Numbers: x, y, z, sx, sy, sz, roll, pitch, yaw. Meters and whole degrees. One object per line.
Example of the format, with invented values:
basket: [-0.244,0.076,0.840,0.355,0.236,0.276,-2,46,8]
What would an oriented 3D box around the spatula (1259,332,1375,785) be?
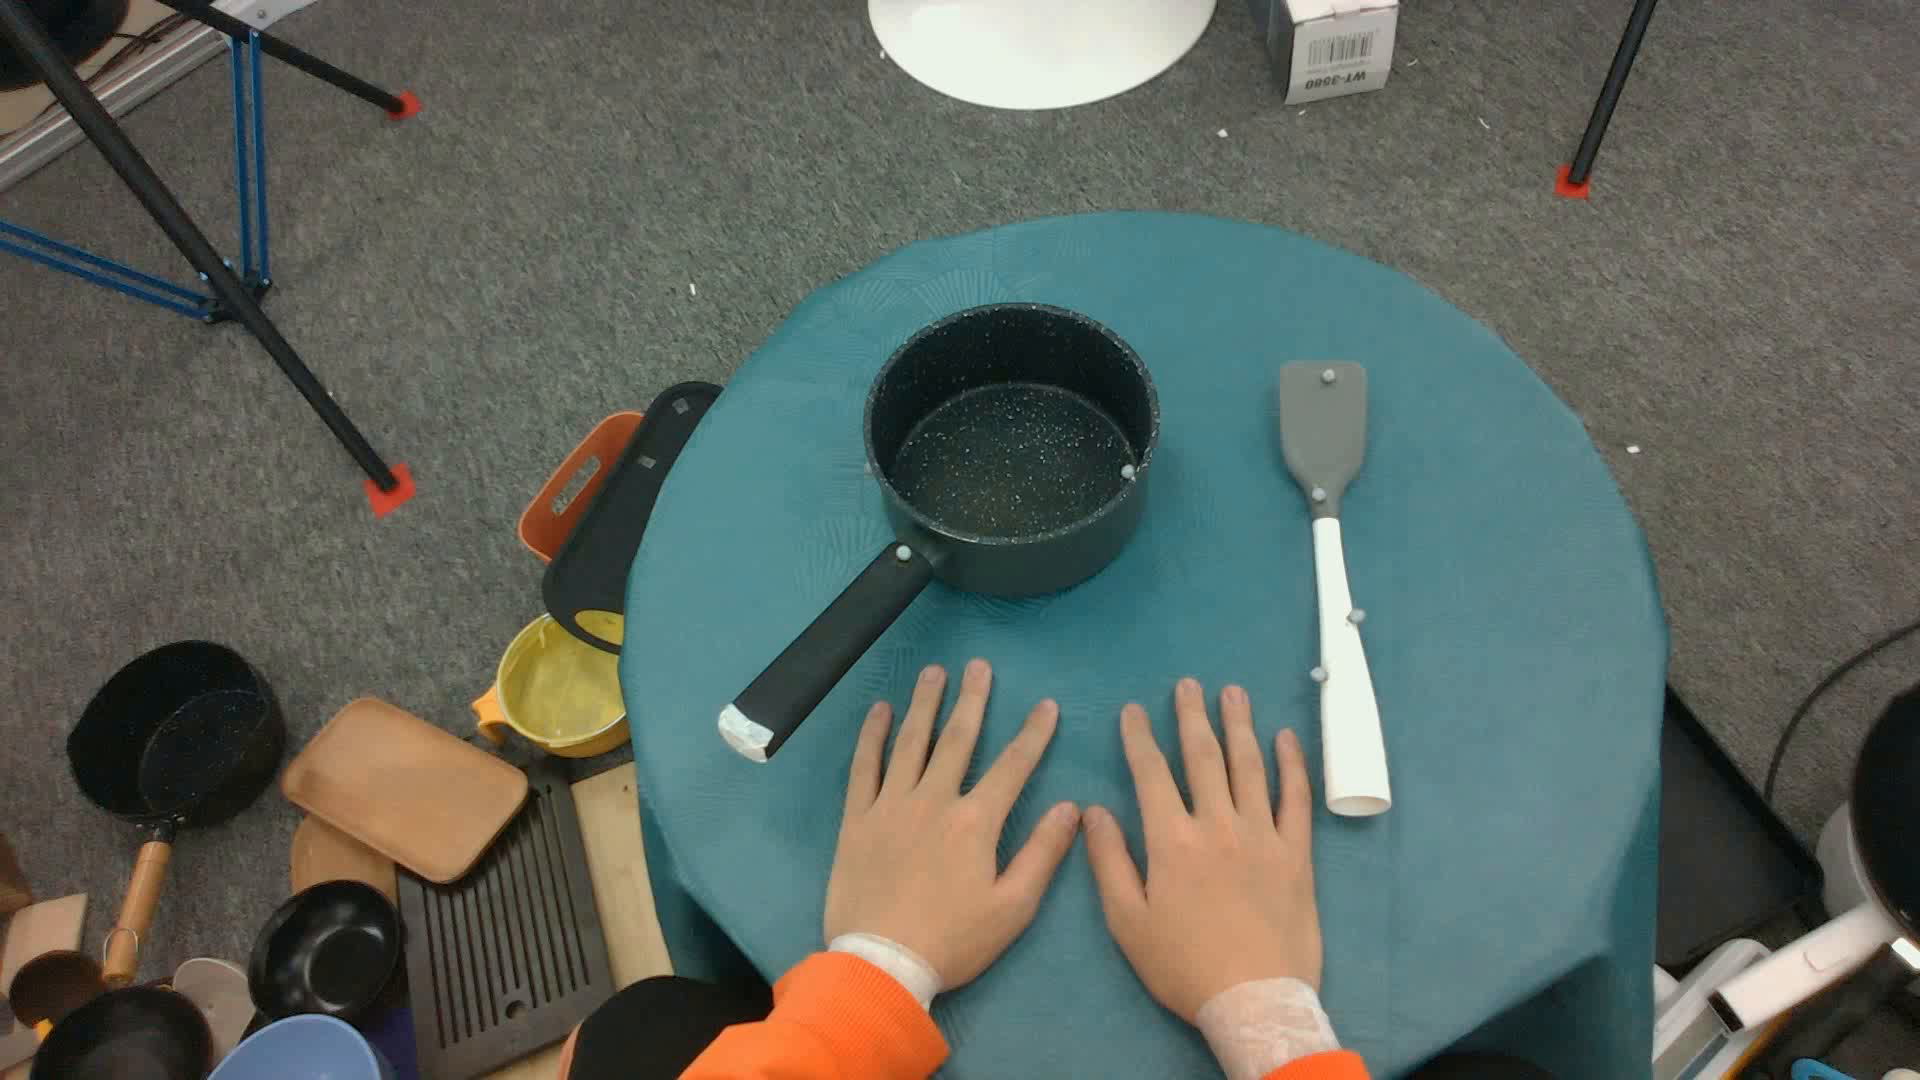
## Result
spatula: [0.207,0.000,0.792,0.058,0.032,0.289,-2,60,8]

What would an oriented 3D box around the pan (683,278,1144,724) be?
pan: [-0.027,-0.011,0.783,0.172,0.086,0.330,32,64,21]
